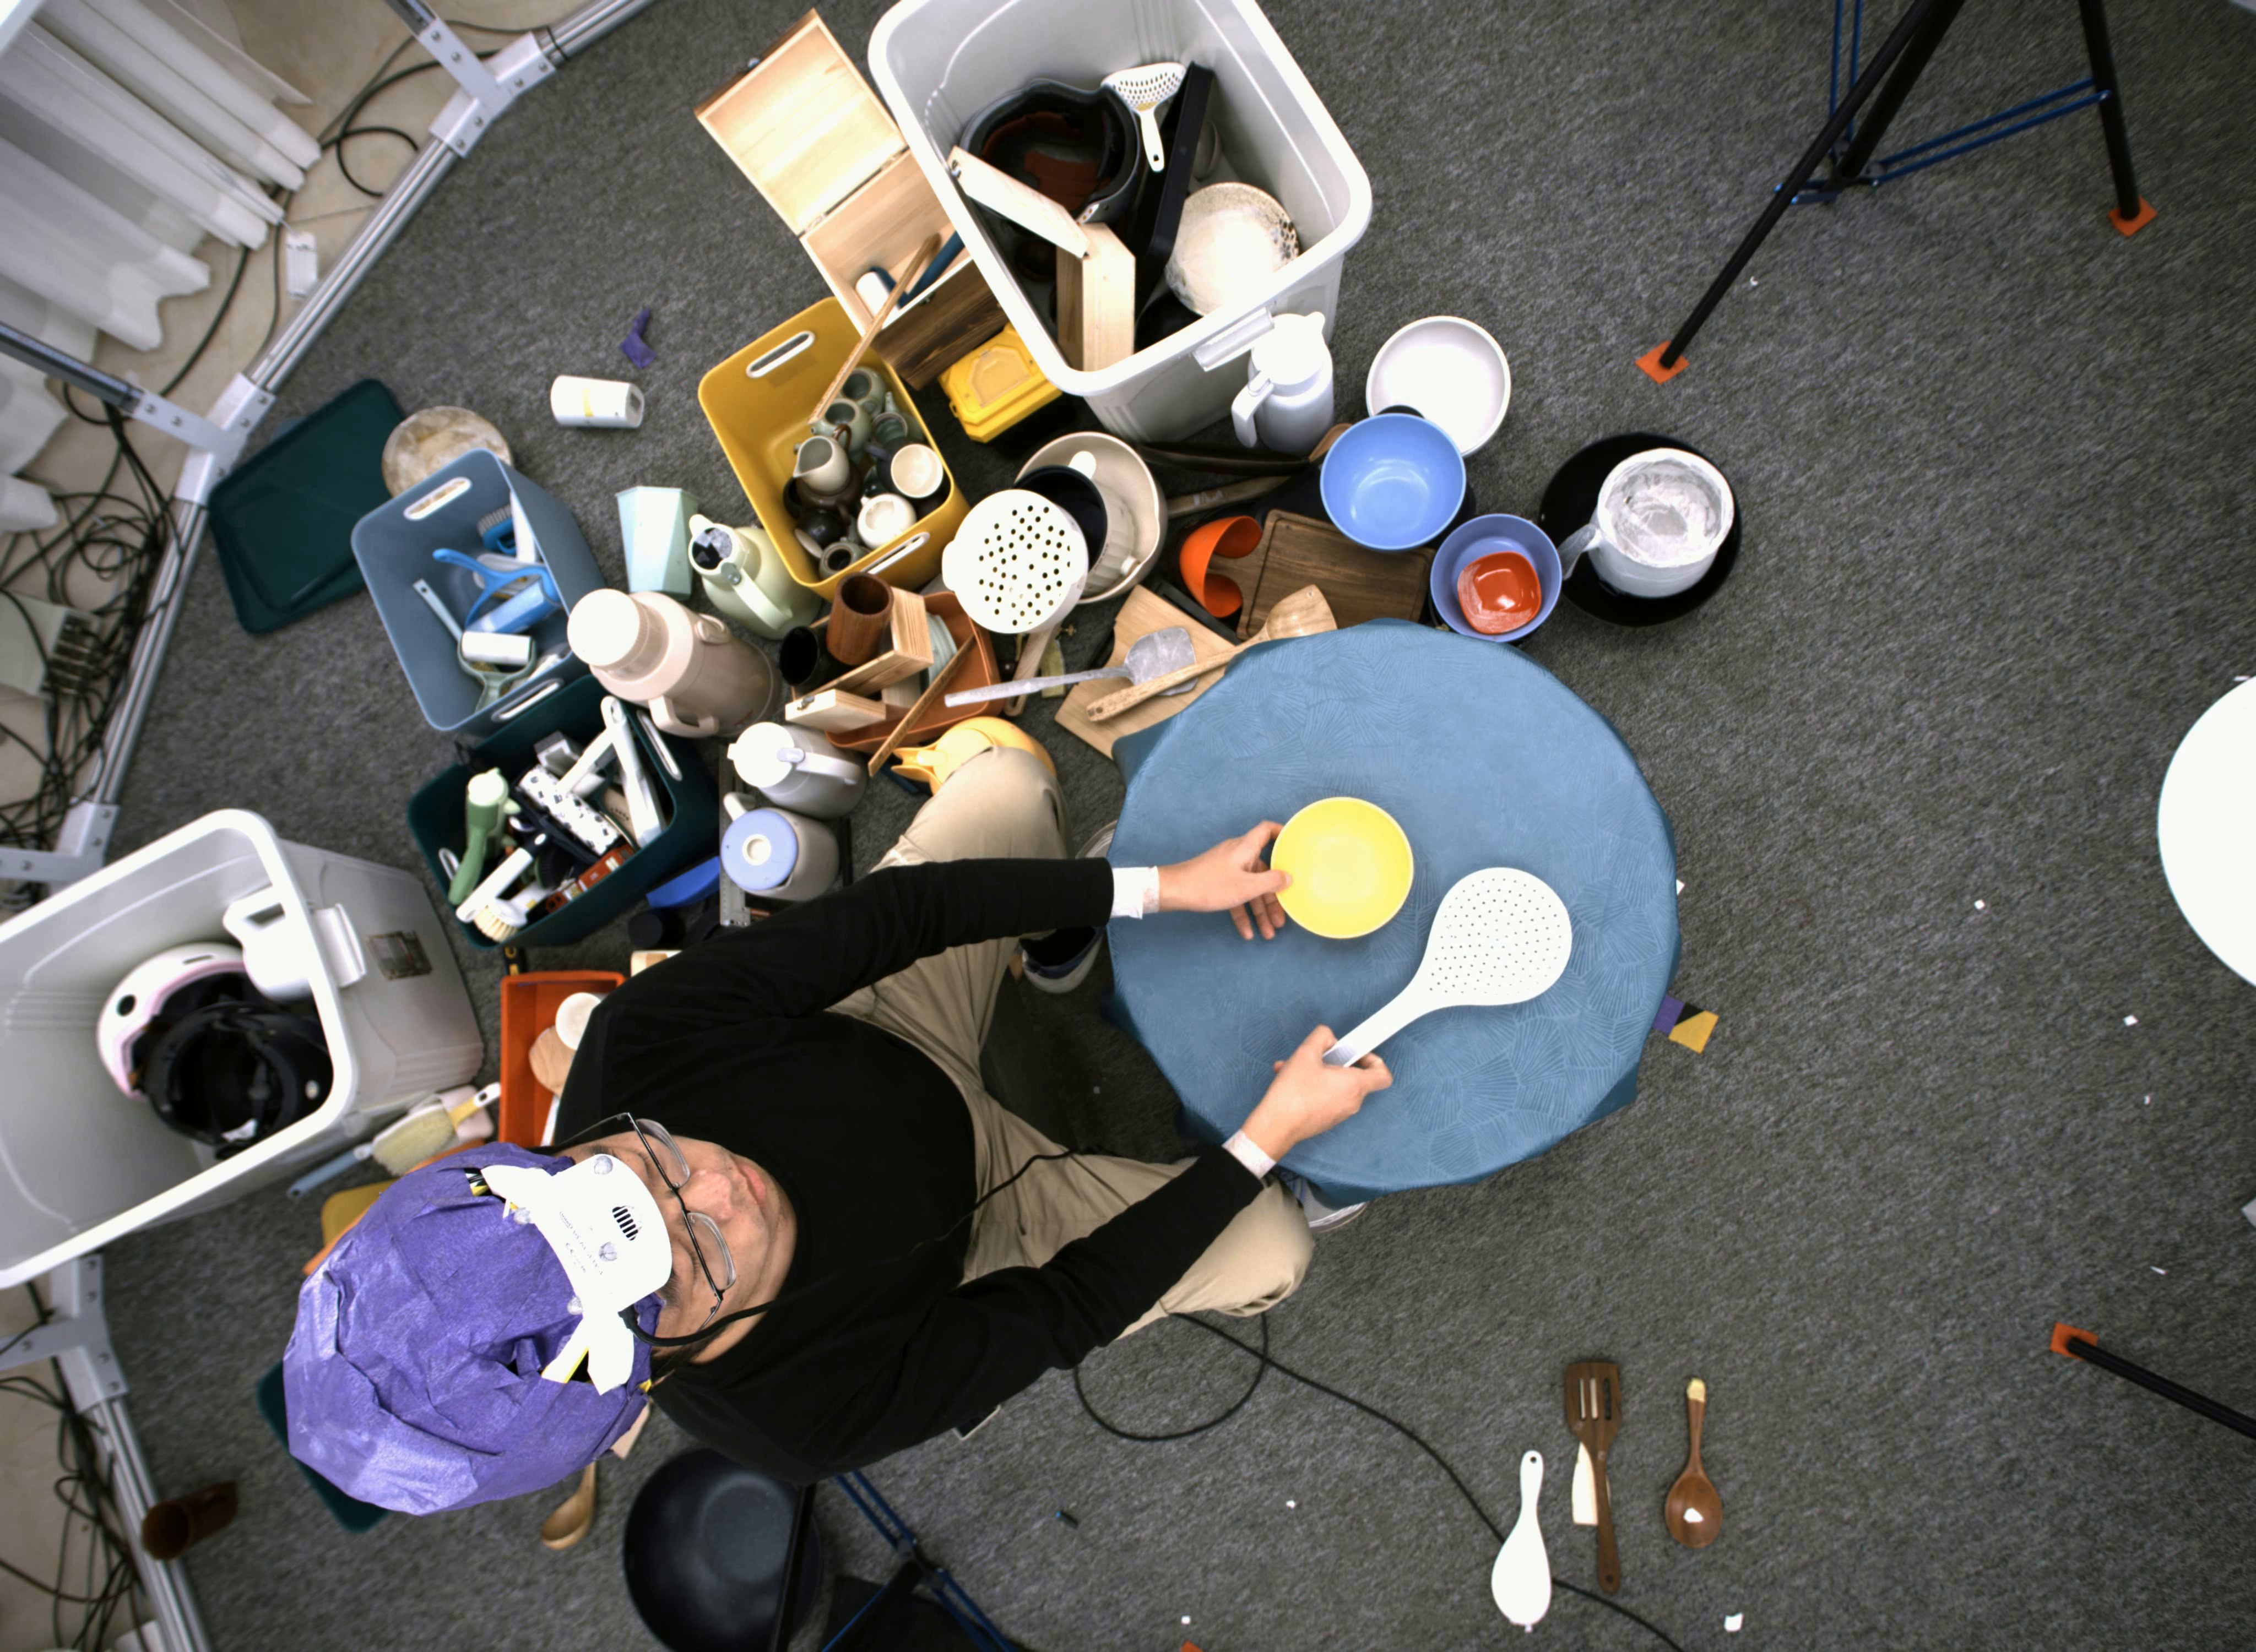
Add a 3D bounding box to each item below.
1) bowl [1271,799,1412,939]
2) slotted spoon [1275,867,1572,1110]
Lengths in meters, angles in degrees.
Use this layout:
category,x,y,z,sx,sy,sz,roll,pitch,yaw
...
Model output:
category,x,y,z,sx,sy,sz,roll,pitch,yaw
bowl,0.222,0.047,1.442,0.146,0.060,0.144,-1,84,10
slotted spoon,0.295,0.174,1.406,0.349,0.046,0.135,-36,77,-3
